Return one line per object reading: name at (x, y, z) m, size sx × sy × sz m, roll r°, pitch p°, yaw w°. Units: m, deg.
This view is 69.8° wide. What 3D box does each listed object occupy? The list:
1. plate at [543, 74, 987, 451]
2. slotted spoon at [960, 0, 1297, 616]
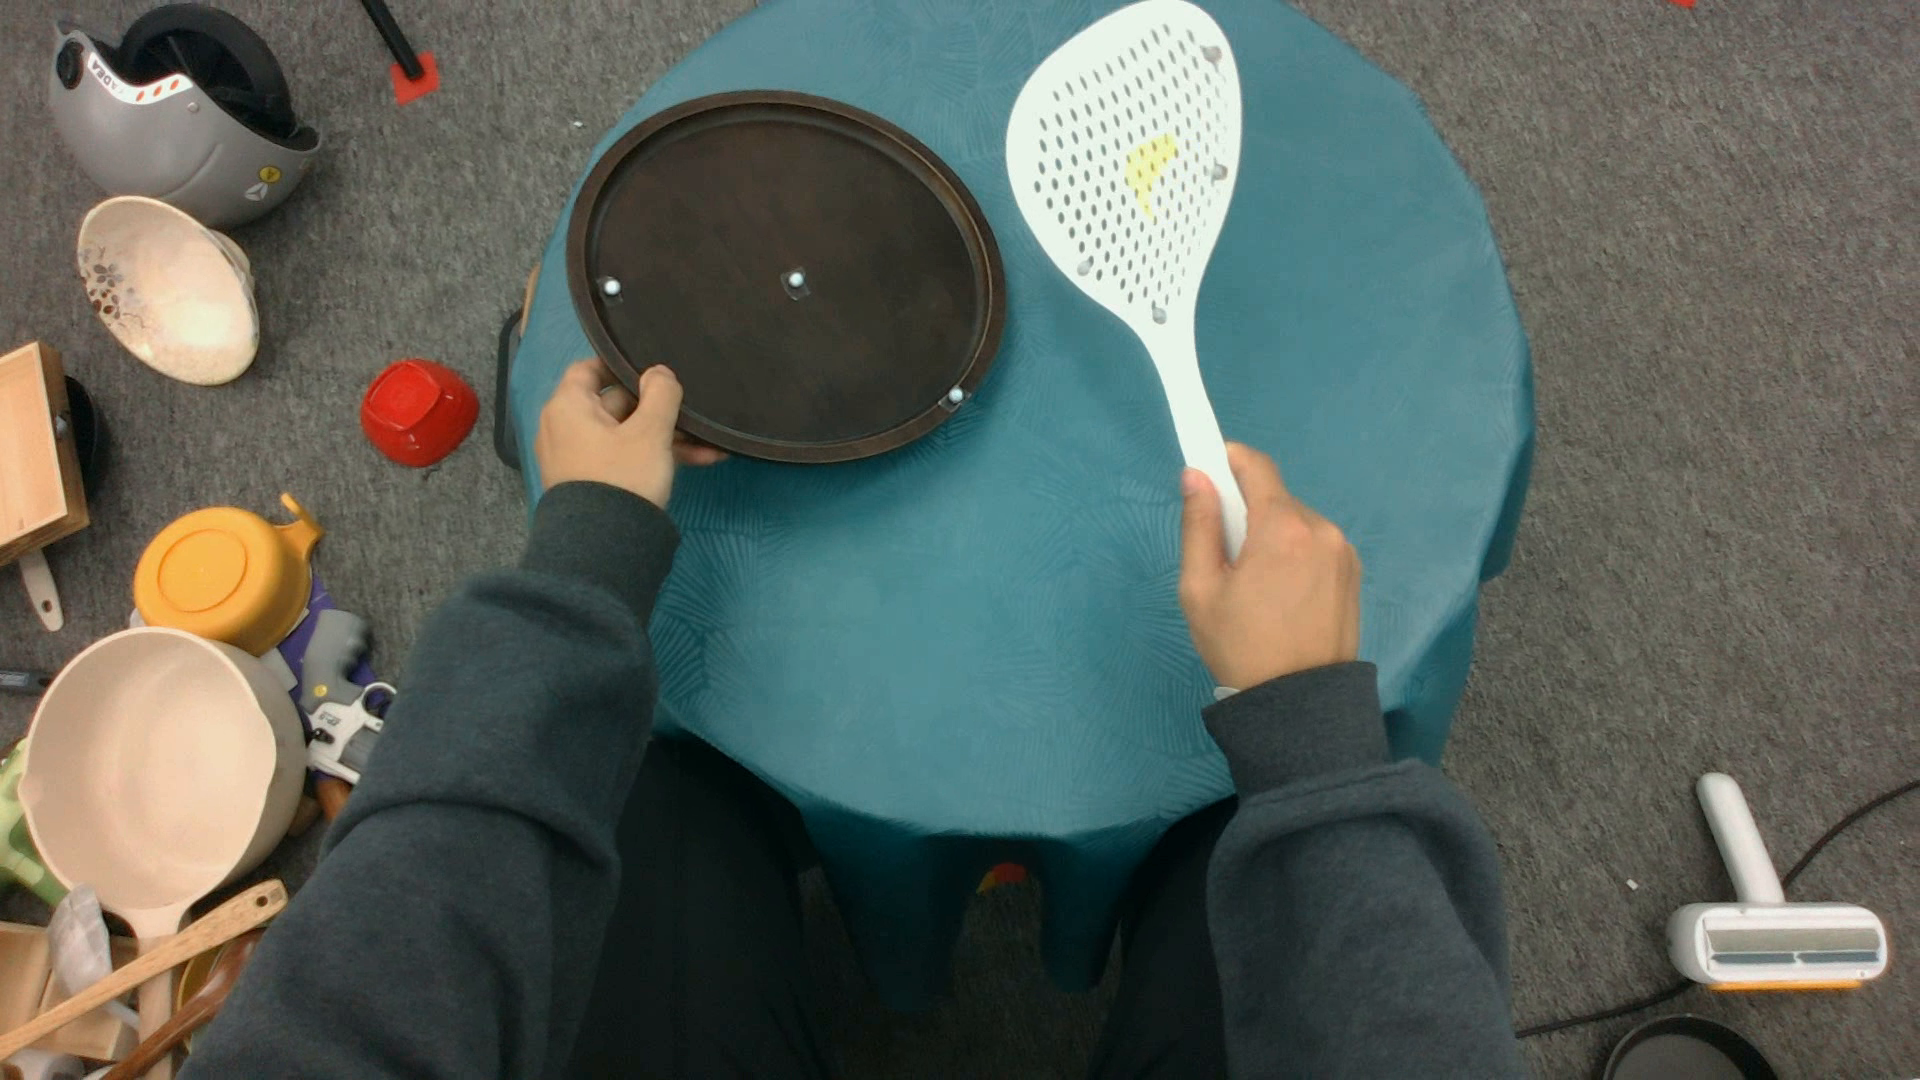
plate at (-0.109, -0.163, 0.795) m, size 0.255 × 0.029 × 0.255 m, roll 6°, pitch 66°, yaw -15°
slotted spoon at (0.095, -0.124, 0.702) m, size 0.136 × 0.050 × 0.348 m, roll -27°, pitch 69°, yaw 32°
